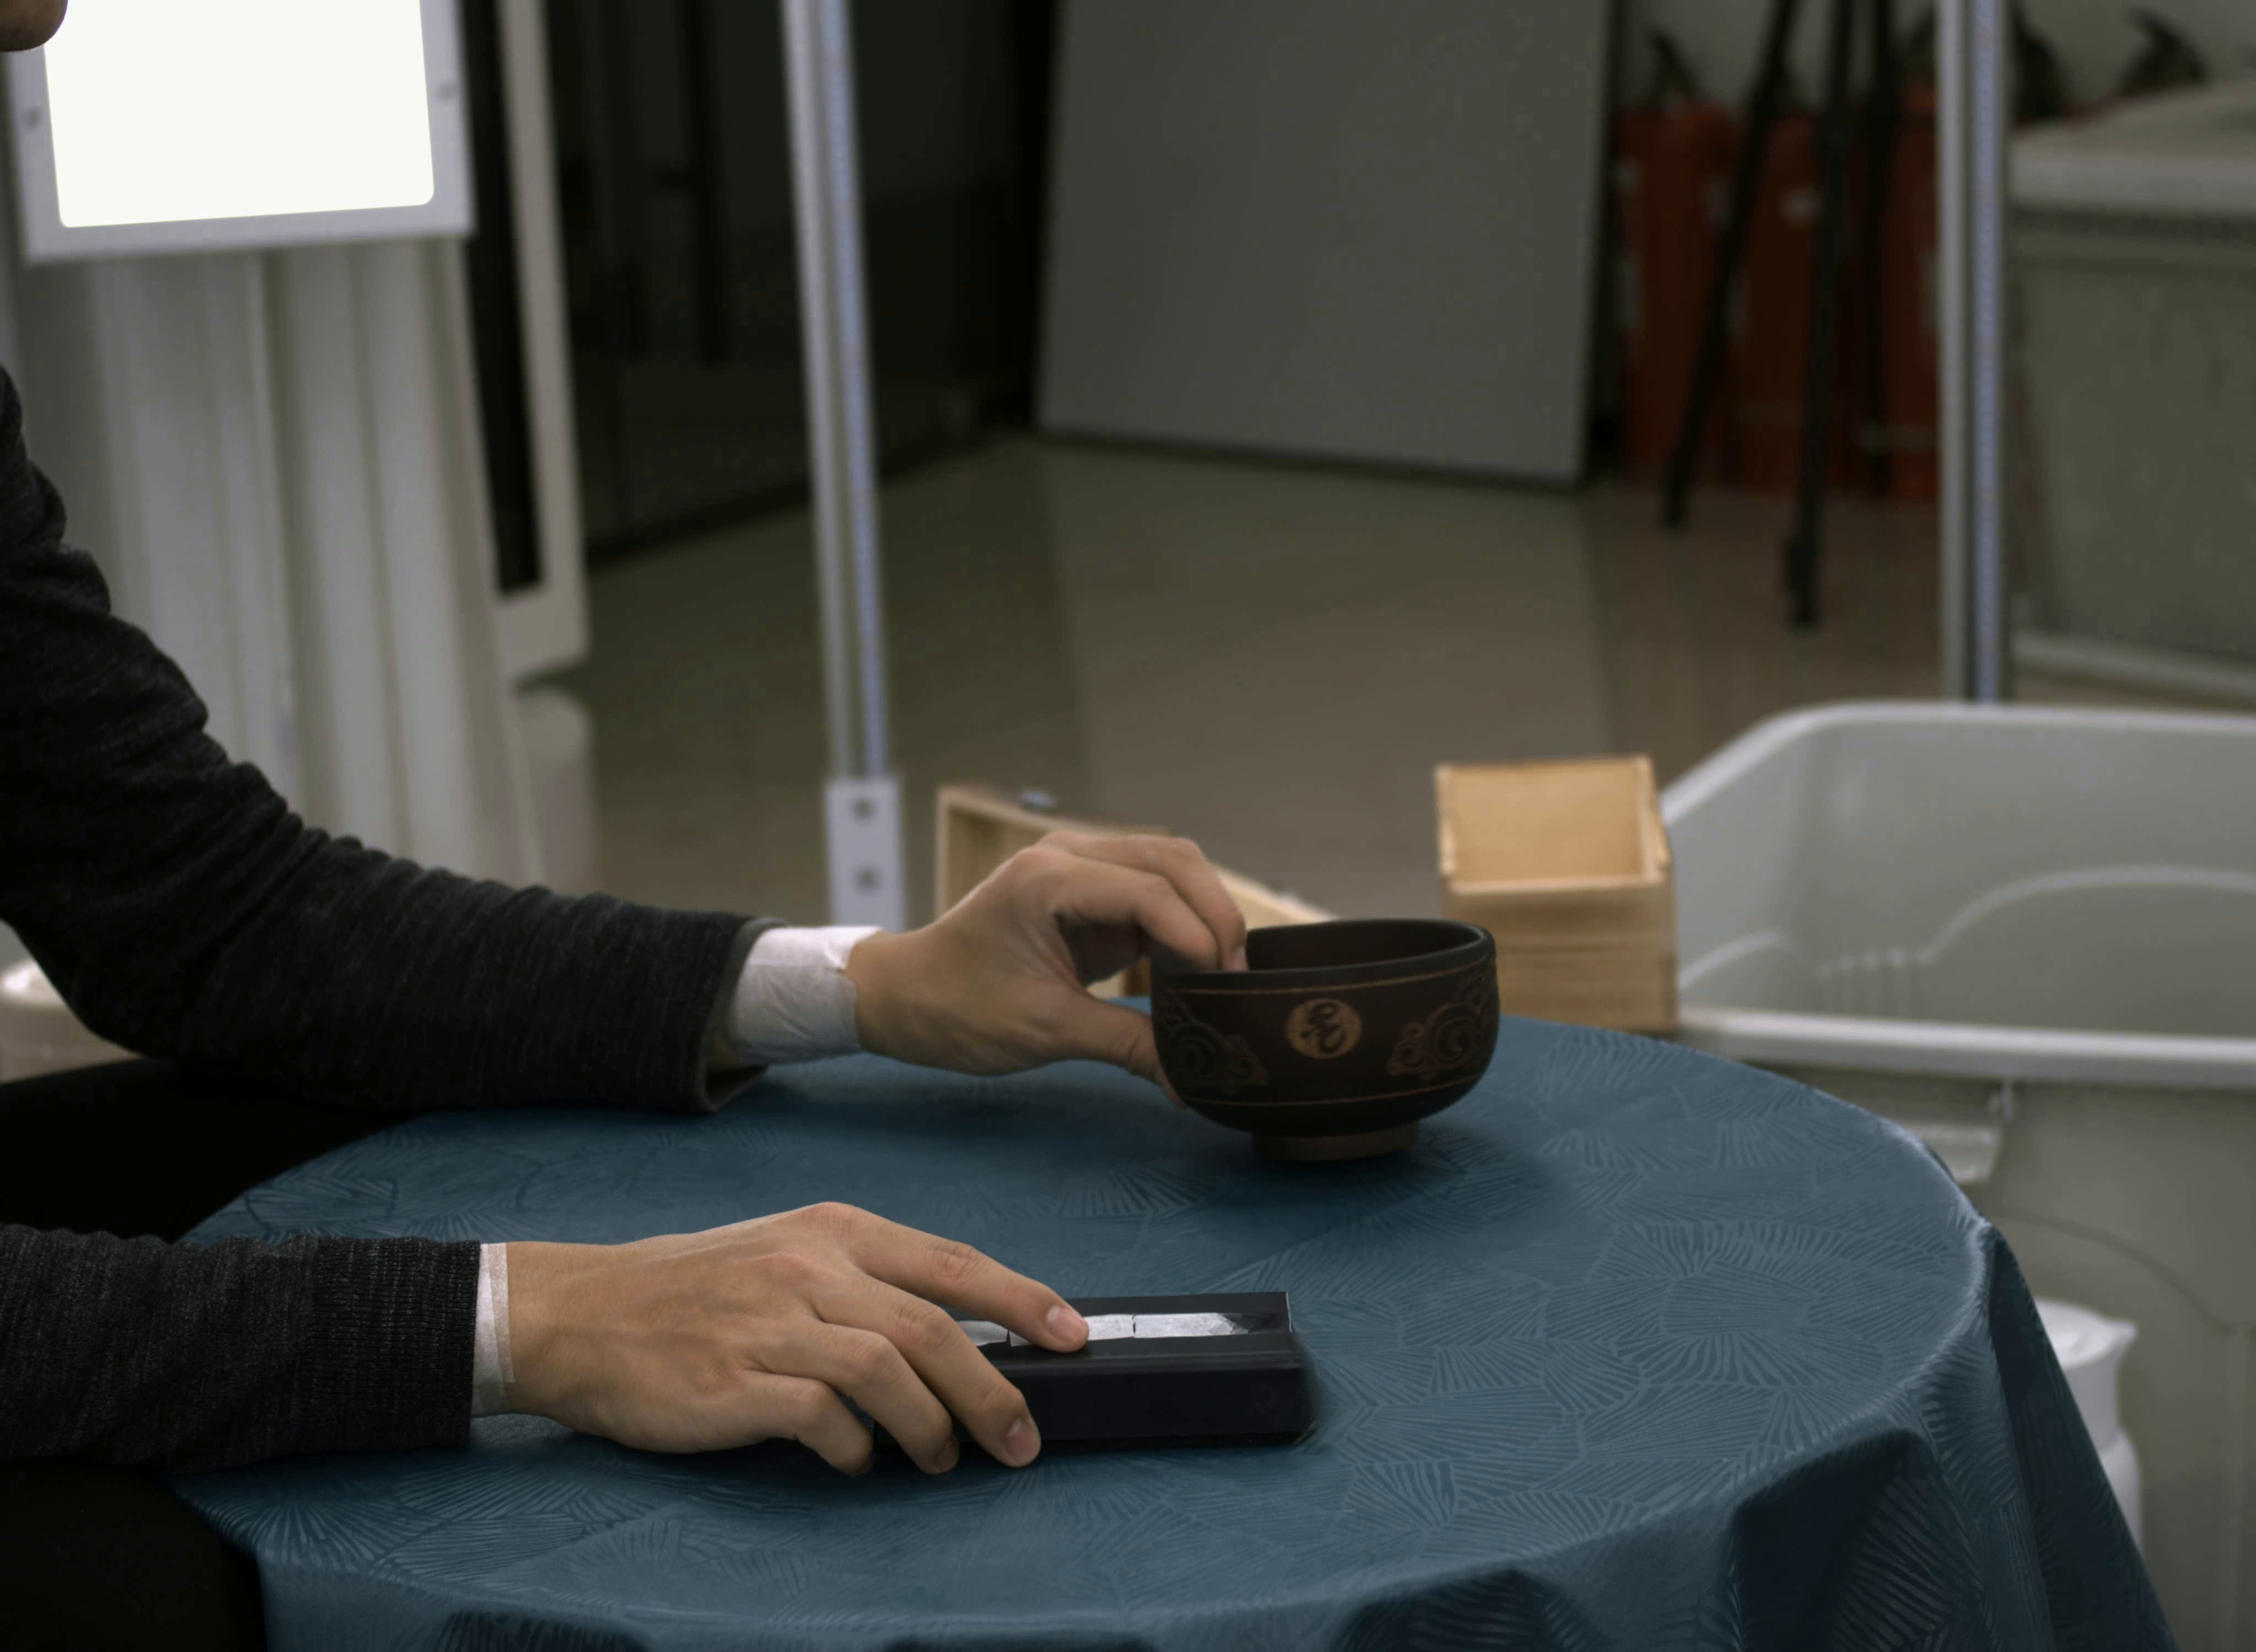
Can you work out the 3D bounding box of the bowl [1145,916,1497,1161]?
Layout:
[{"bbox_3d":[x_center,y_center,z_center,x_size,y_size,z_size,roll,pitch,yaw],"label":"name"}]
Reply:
[{"bbox_3d":[0.065,0.072,1.786,0.116,0.071,0.118,-5,6,0],"label":"bowl"}]

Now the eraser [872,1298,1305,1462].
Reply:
[{"bbox_3d":[-0.011,0.159,1.553,0.124,0.031,0.053,-3,14,2],"label":"eraser"}]
